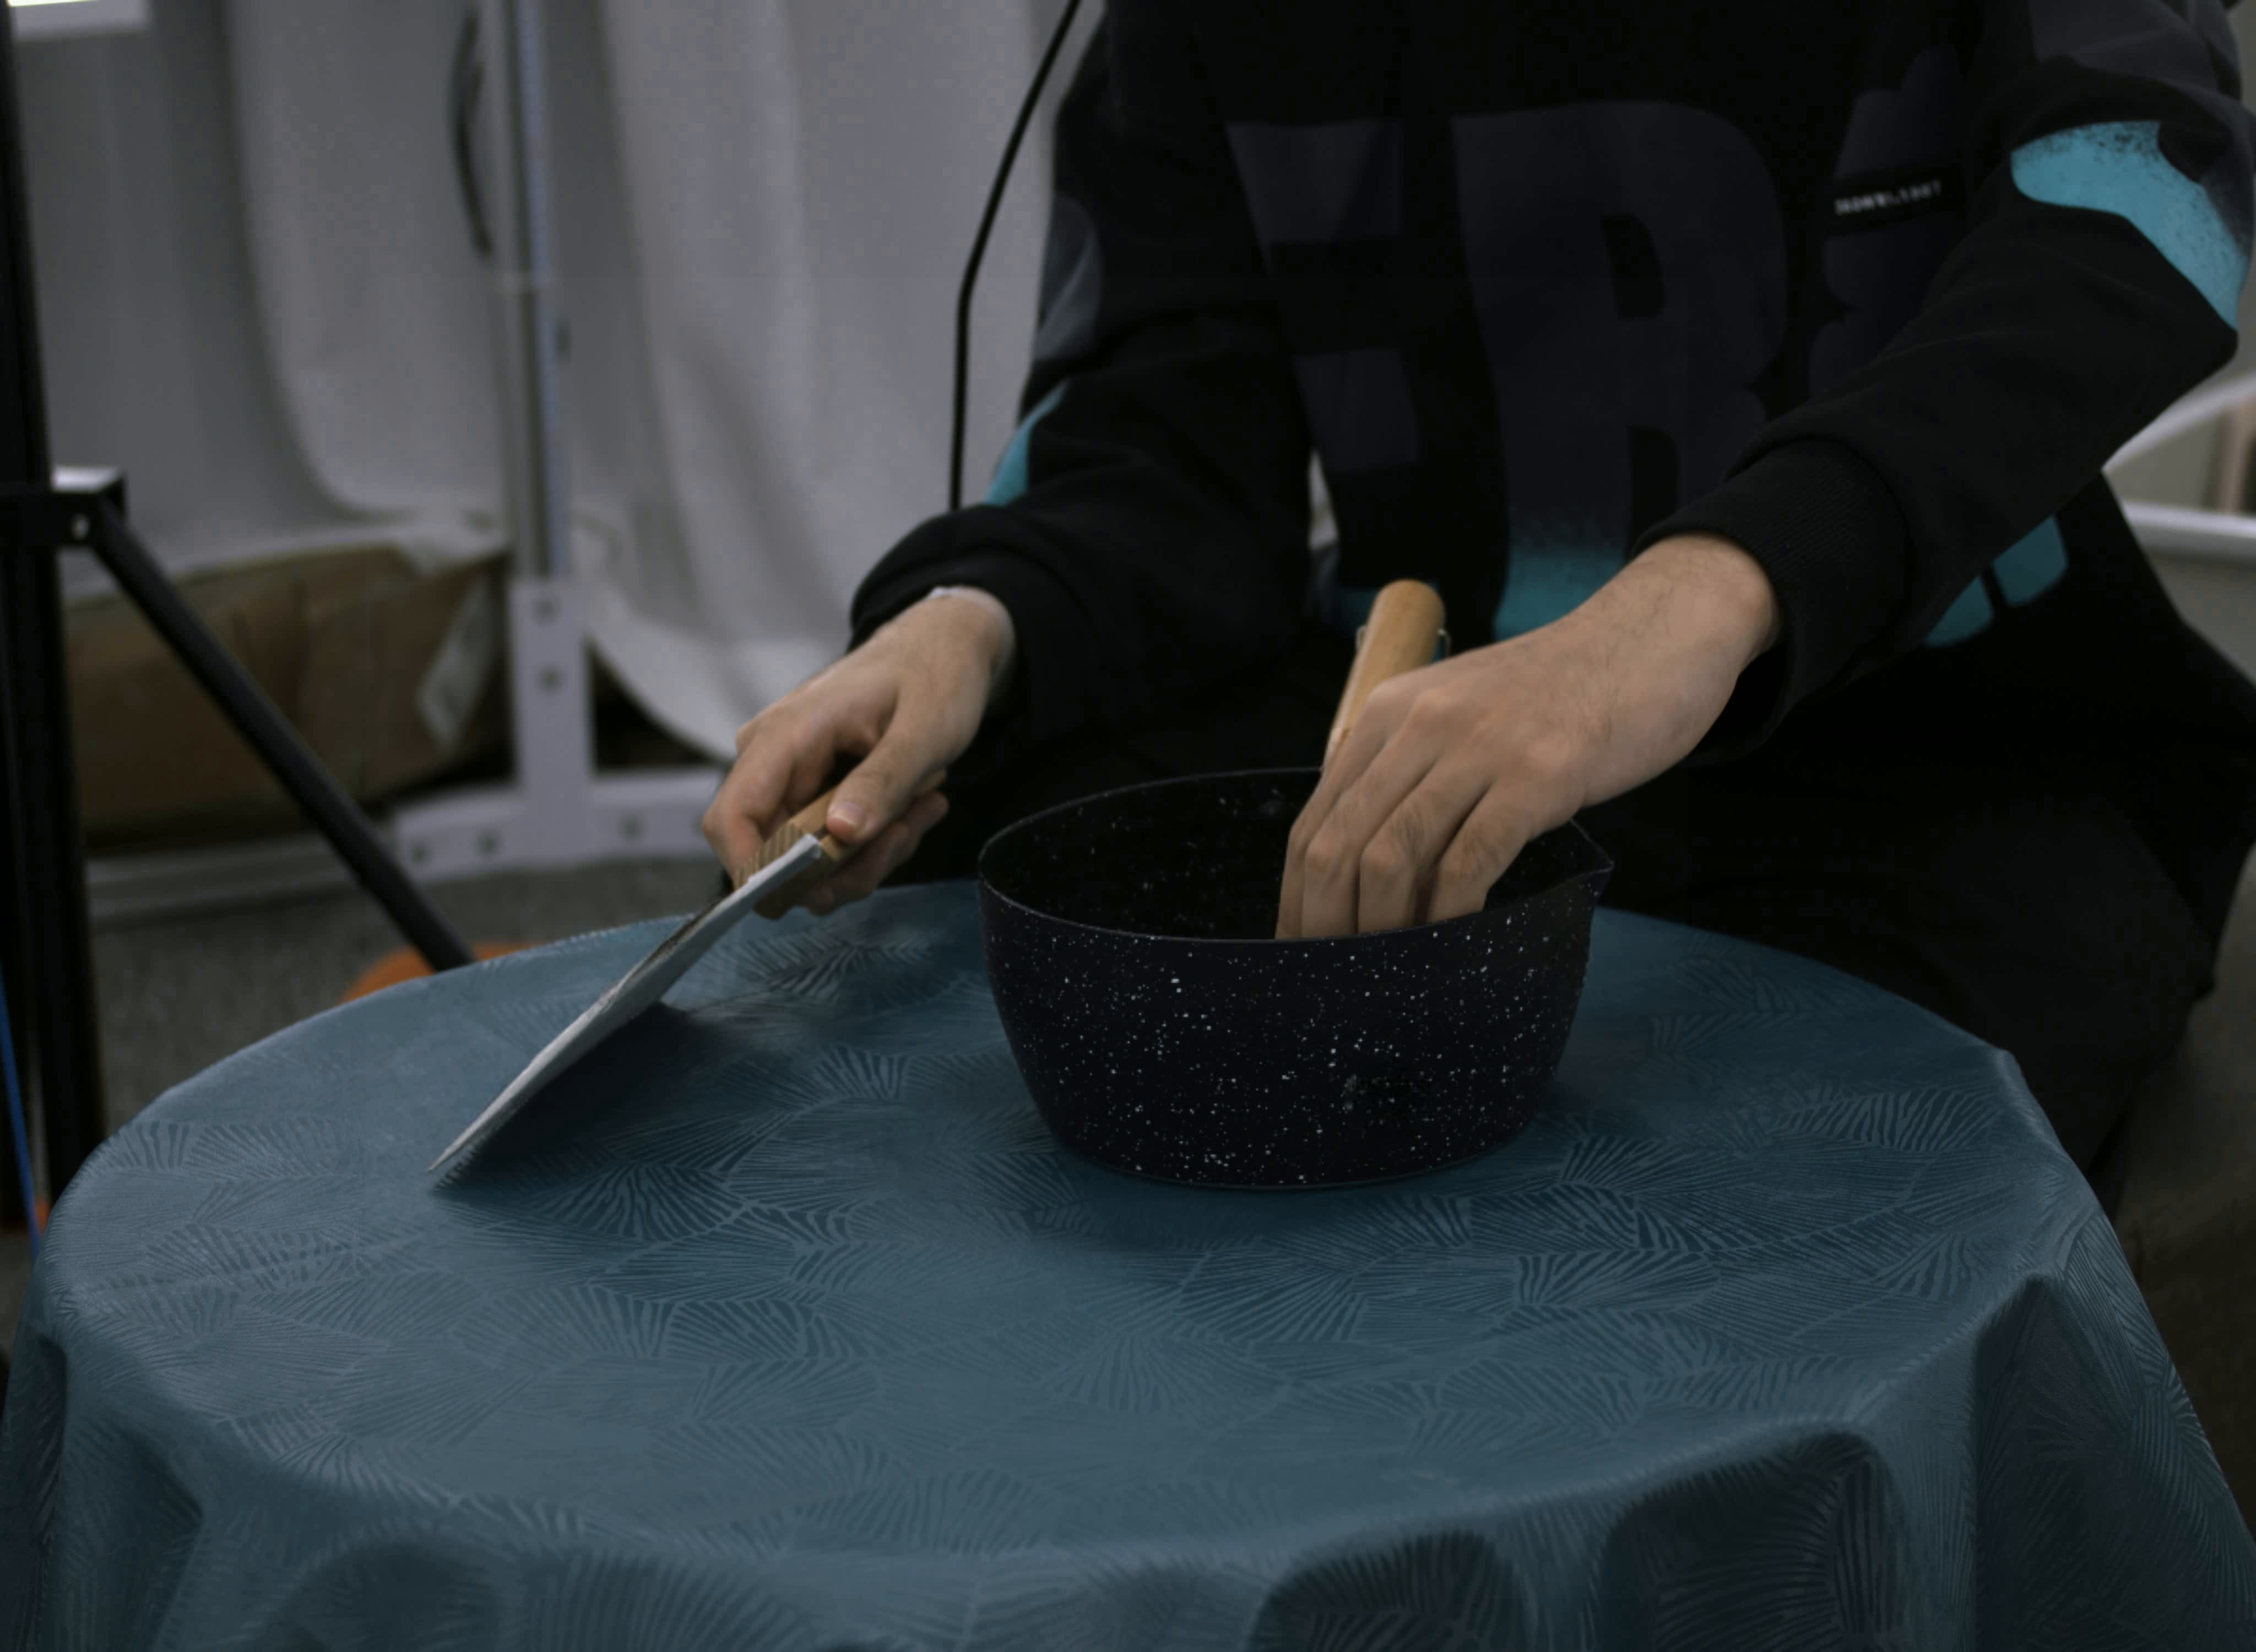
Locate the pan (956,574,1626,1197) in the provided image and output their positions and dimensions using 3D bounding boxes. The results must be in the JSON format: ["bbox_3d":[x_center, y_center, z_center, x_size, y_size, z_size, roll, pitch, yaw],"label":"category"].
[{"bbox_3d":[0.062,0.014,1.679,0.208,0.108,0.341,-1,17,11],"label":"pan"}]

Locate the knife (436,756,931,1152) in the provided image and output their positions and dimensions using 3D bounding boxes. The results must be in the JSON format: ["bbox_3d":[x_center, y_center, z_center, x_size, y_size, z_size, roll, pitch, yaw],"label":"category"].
[{"bbox_3d":[-0.130,0.032,1.711,0.115,0.022,0.312,-43,-1,25],"label":"knife"}]
